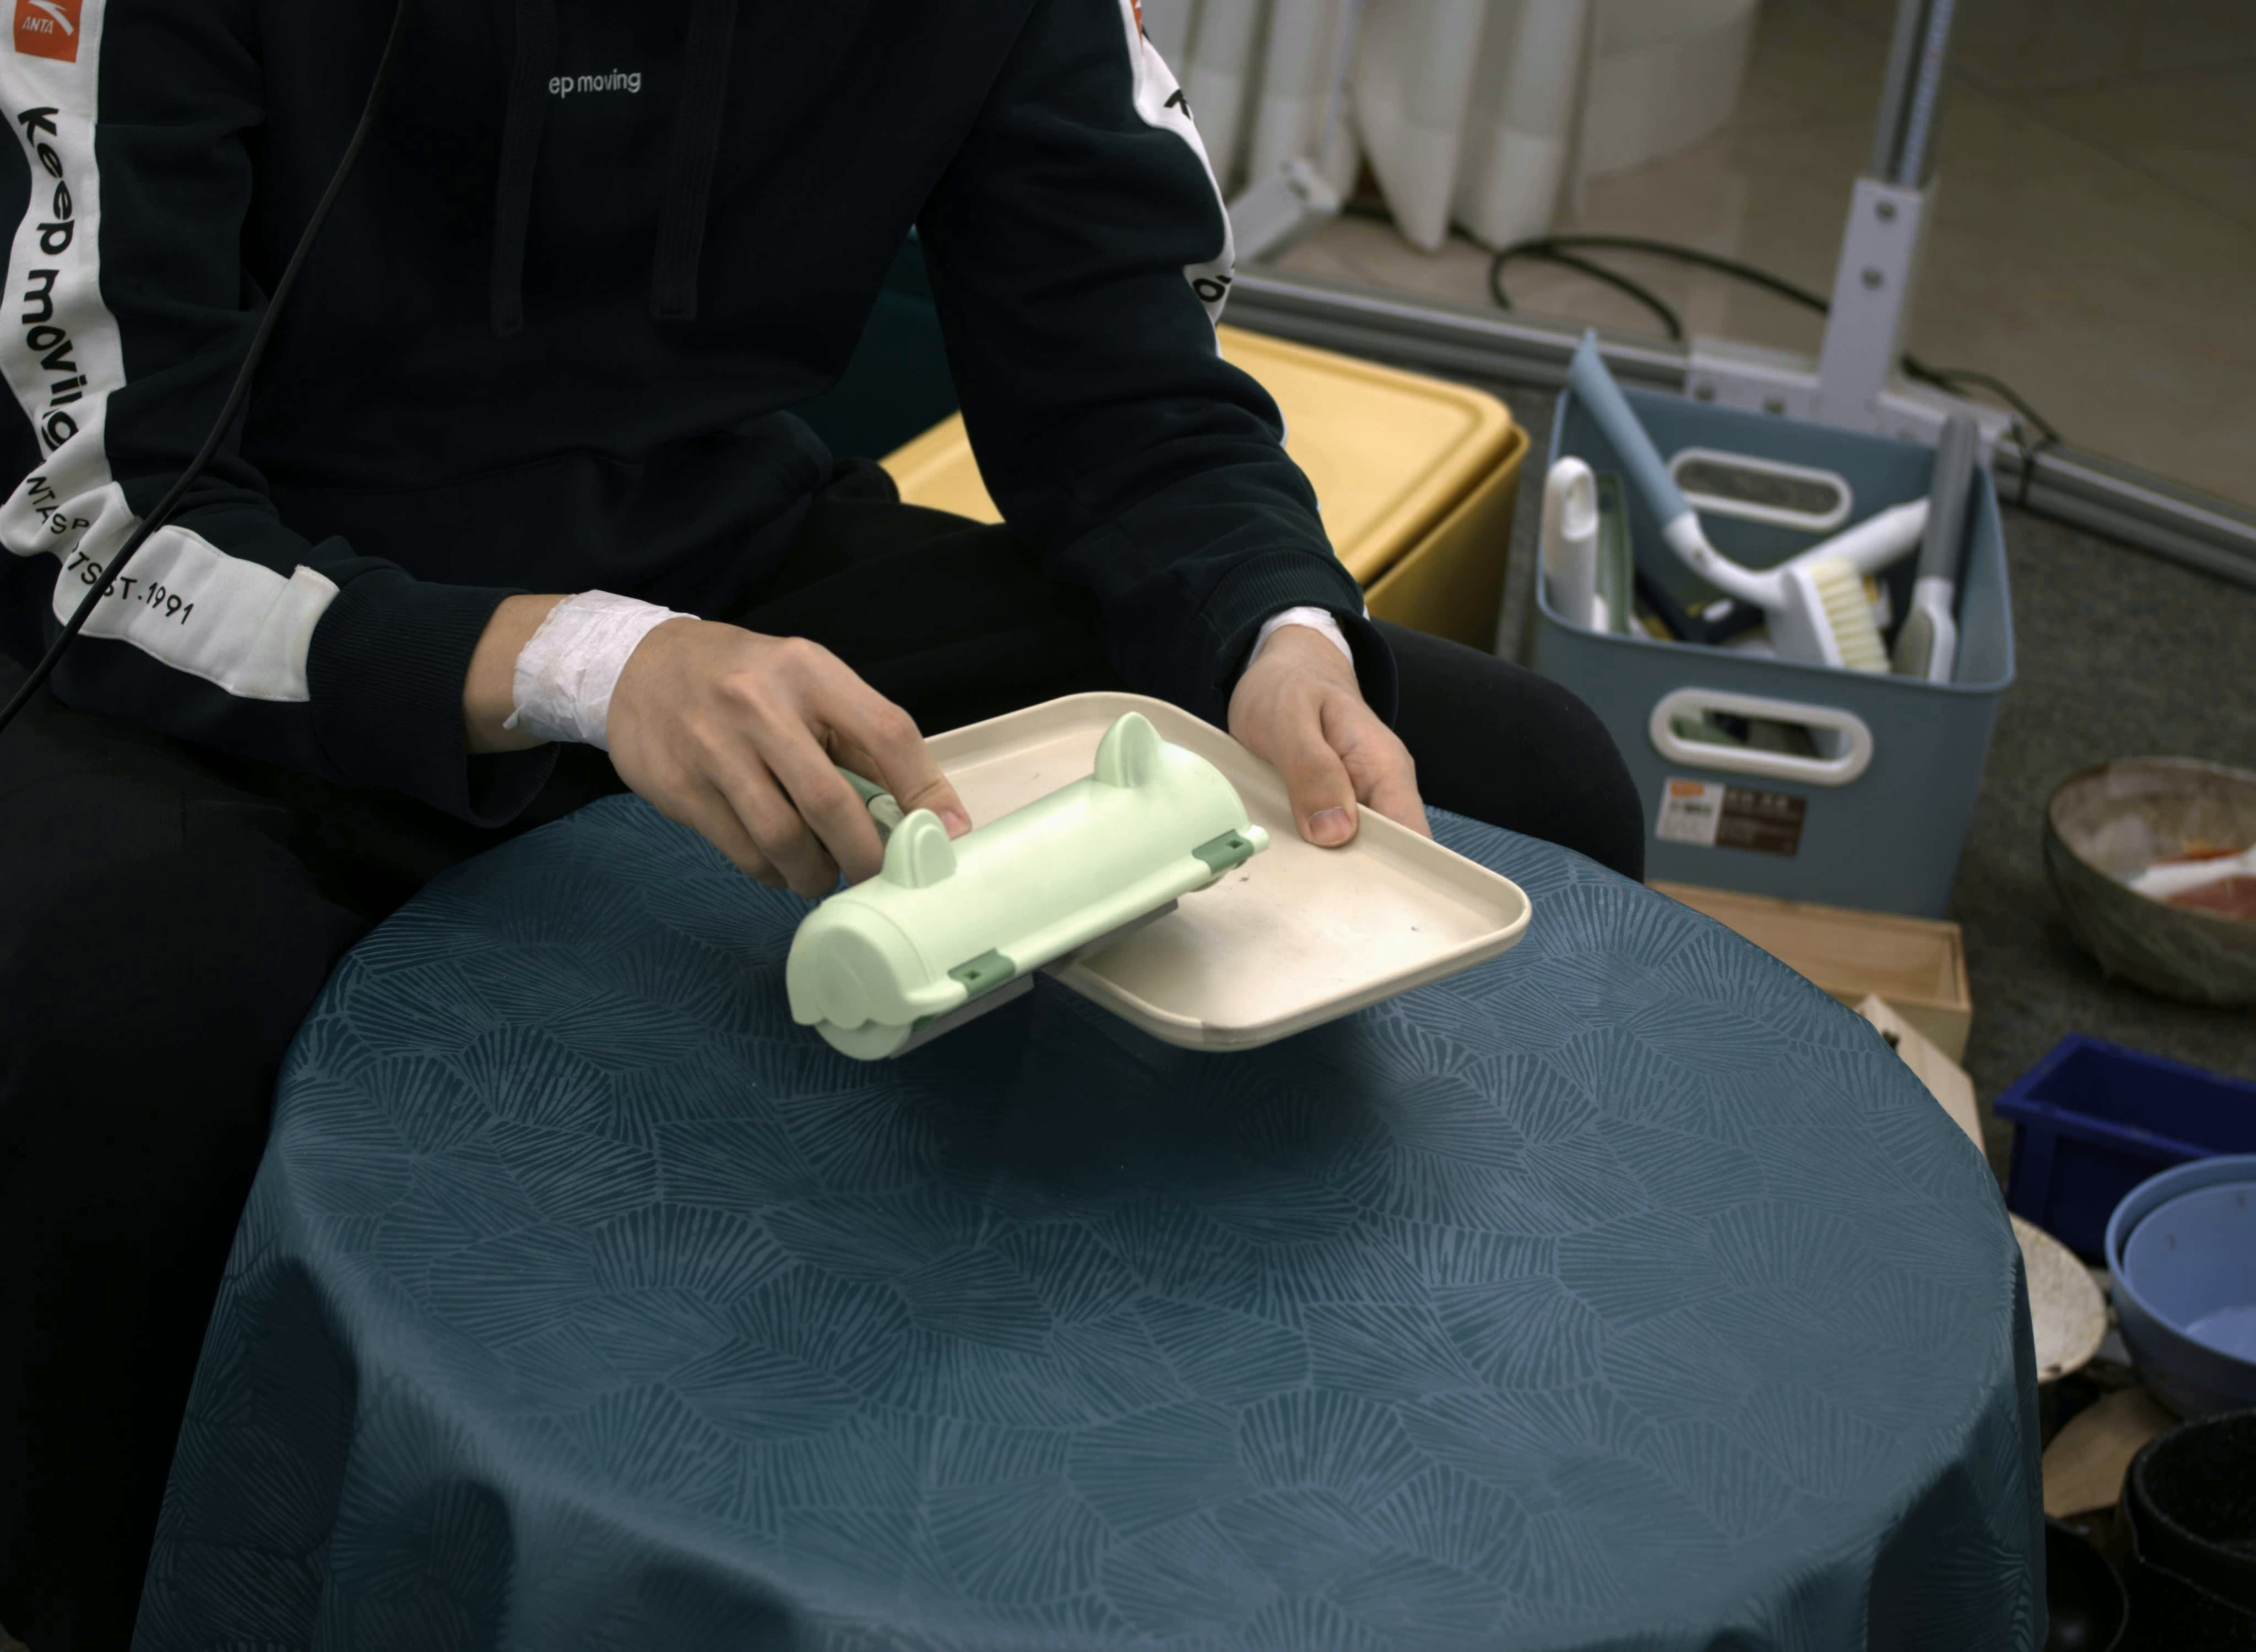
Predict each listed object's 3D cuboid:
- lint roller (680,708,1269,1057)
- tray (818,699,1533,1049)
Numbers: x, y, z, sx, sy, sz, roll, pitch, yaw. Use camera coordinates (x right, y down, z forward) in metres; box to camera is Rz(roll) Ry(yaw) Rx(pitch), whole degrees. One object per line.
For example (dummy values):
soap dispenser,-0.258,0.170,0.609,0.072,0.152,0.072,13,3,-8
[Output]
lint roller,-0.076,-0.007,1.792,0.184,0.082,0.198,30,33,27
tray,0.011,0.015,1.870,0.170,0.017,0.241,-17,31,-38
